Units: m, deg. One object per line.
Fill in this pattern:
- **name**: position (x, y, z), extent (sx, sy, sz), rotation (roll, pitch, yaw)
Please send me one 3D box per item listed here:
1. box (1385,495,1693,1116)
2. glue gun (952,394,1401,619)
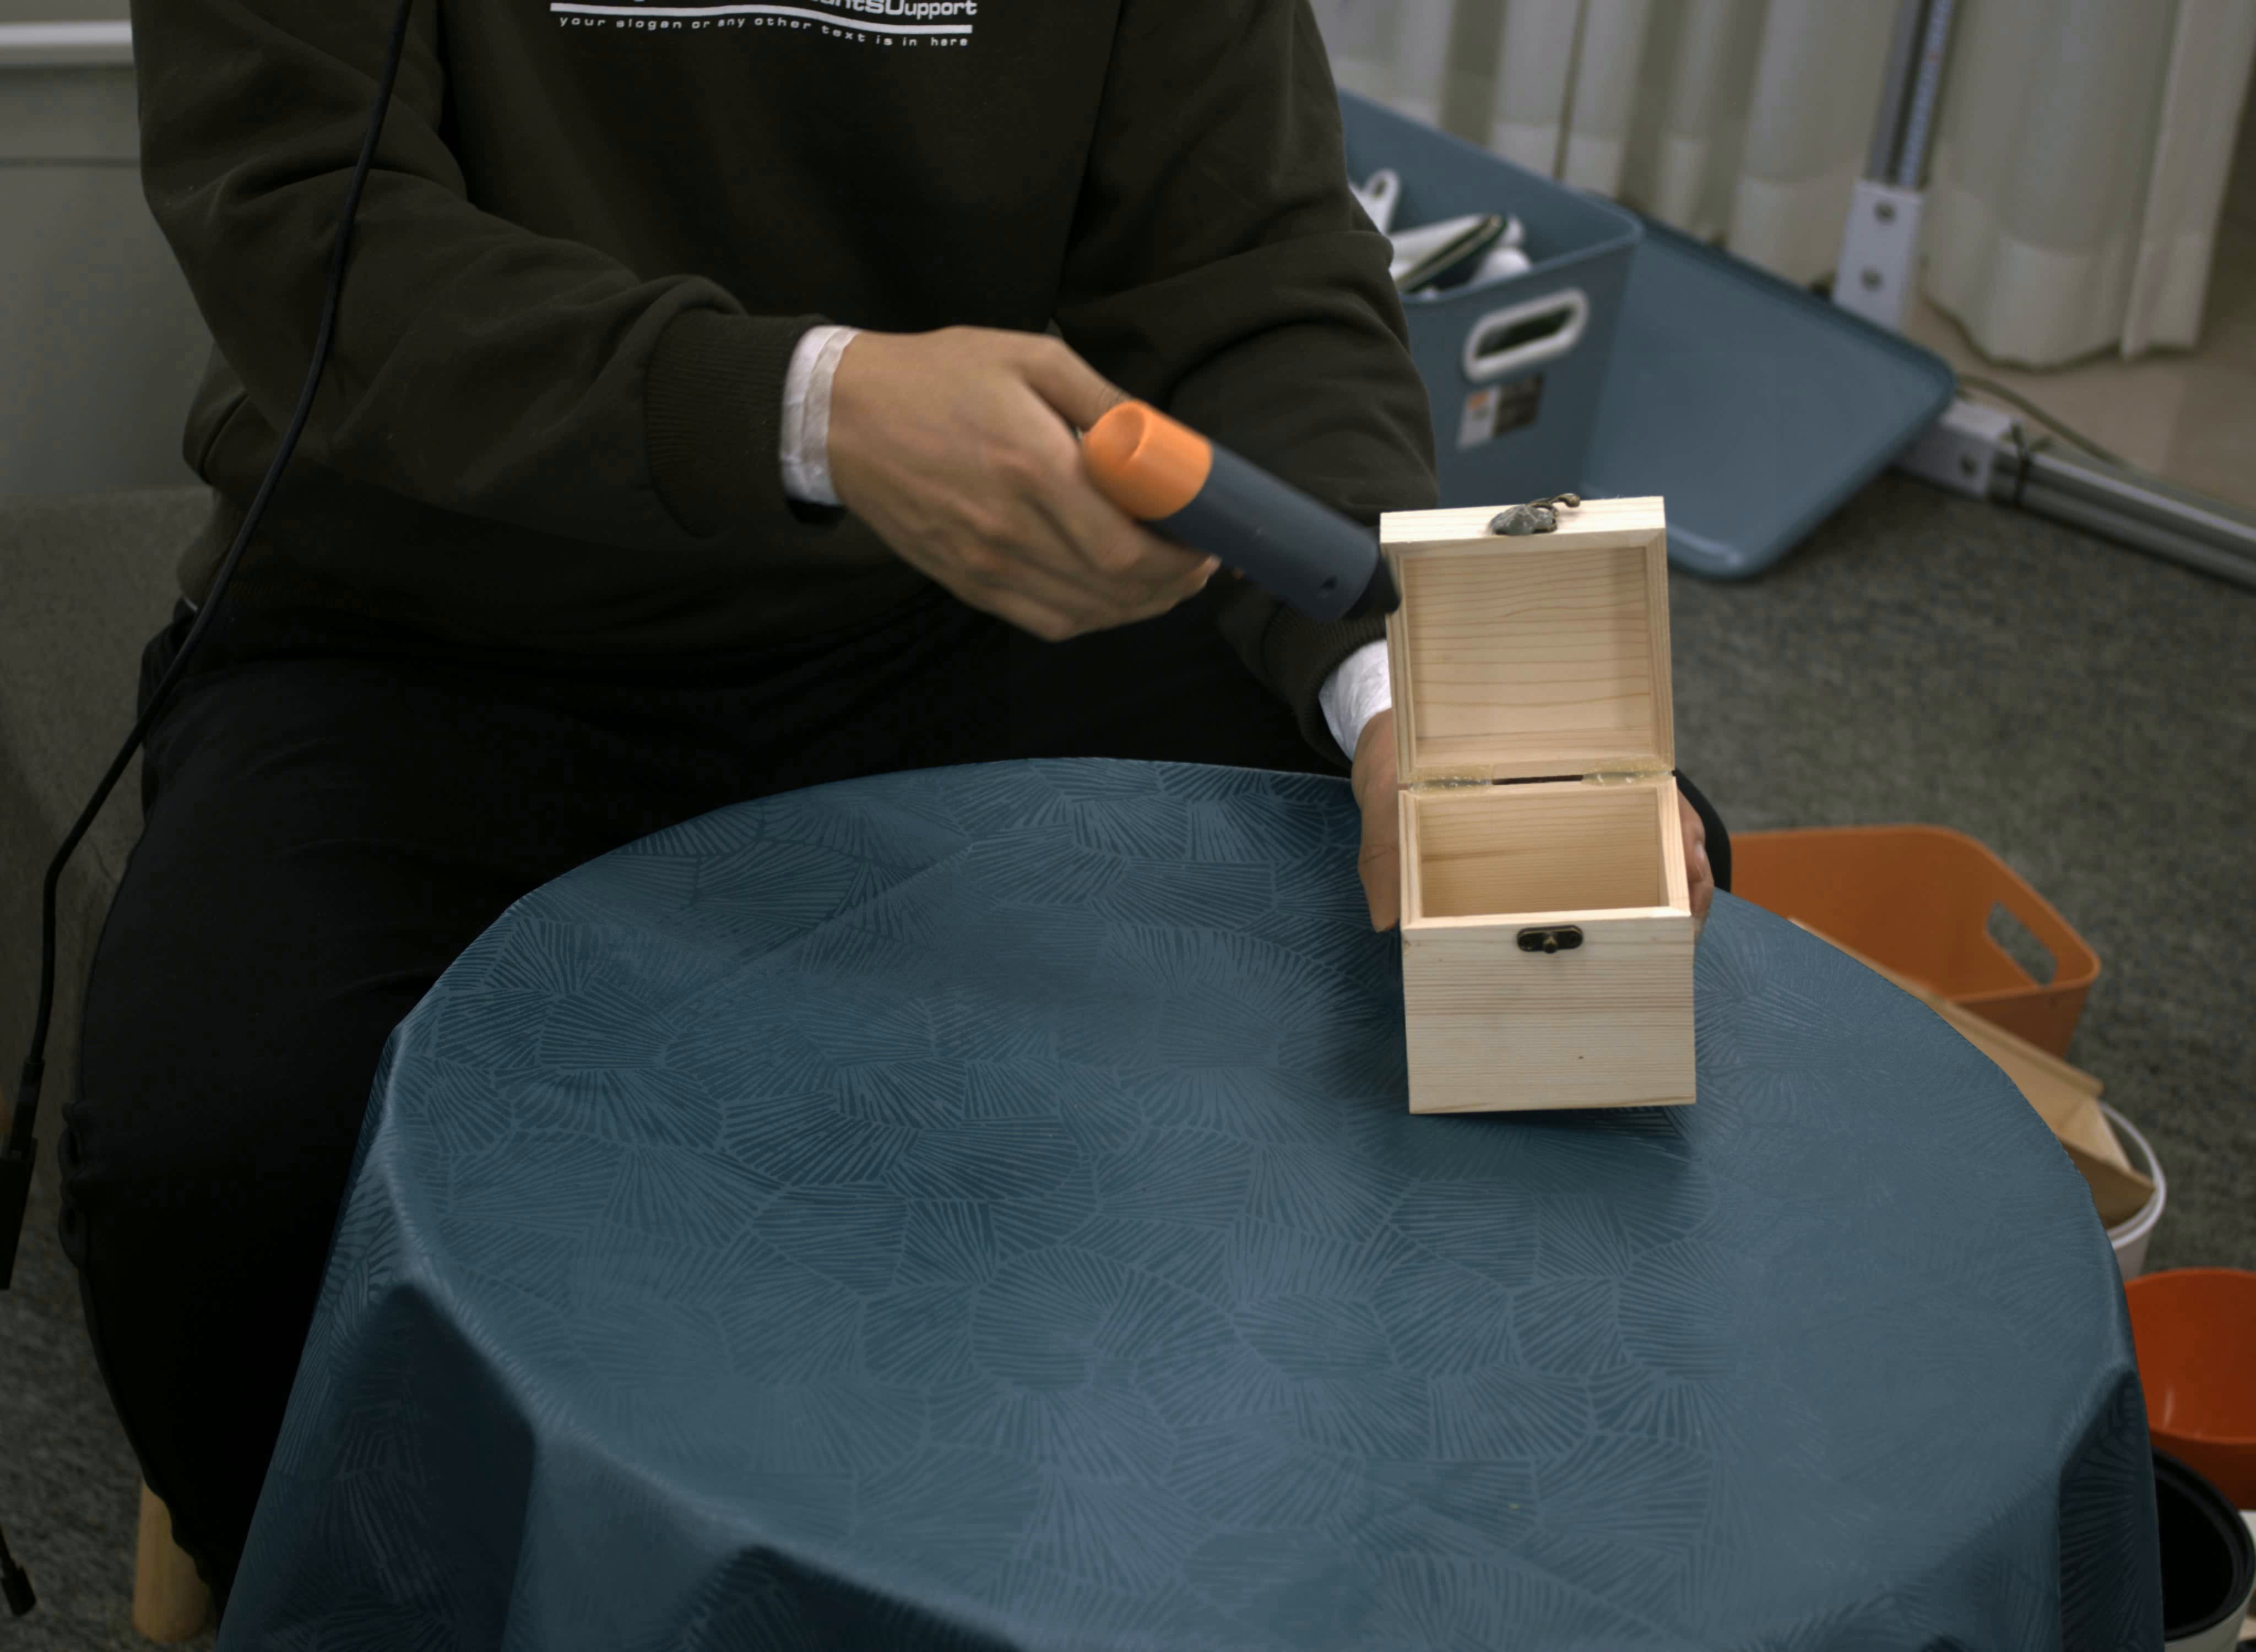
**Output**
- **box**: position (0.145, -0.008, 1.882), extent (0.102, 0.183, 0.135), rotation (-3, 28, 3)
- **glue gun**: position (0.015, -0.104, 1.856), extent (0.140, 0.041, 0.117), rotation (-2, -31, 47)
